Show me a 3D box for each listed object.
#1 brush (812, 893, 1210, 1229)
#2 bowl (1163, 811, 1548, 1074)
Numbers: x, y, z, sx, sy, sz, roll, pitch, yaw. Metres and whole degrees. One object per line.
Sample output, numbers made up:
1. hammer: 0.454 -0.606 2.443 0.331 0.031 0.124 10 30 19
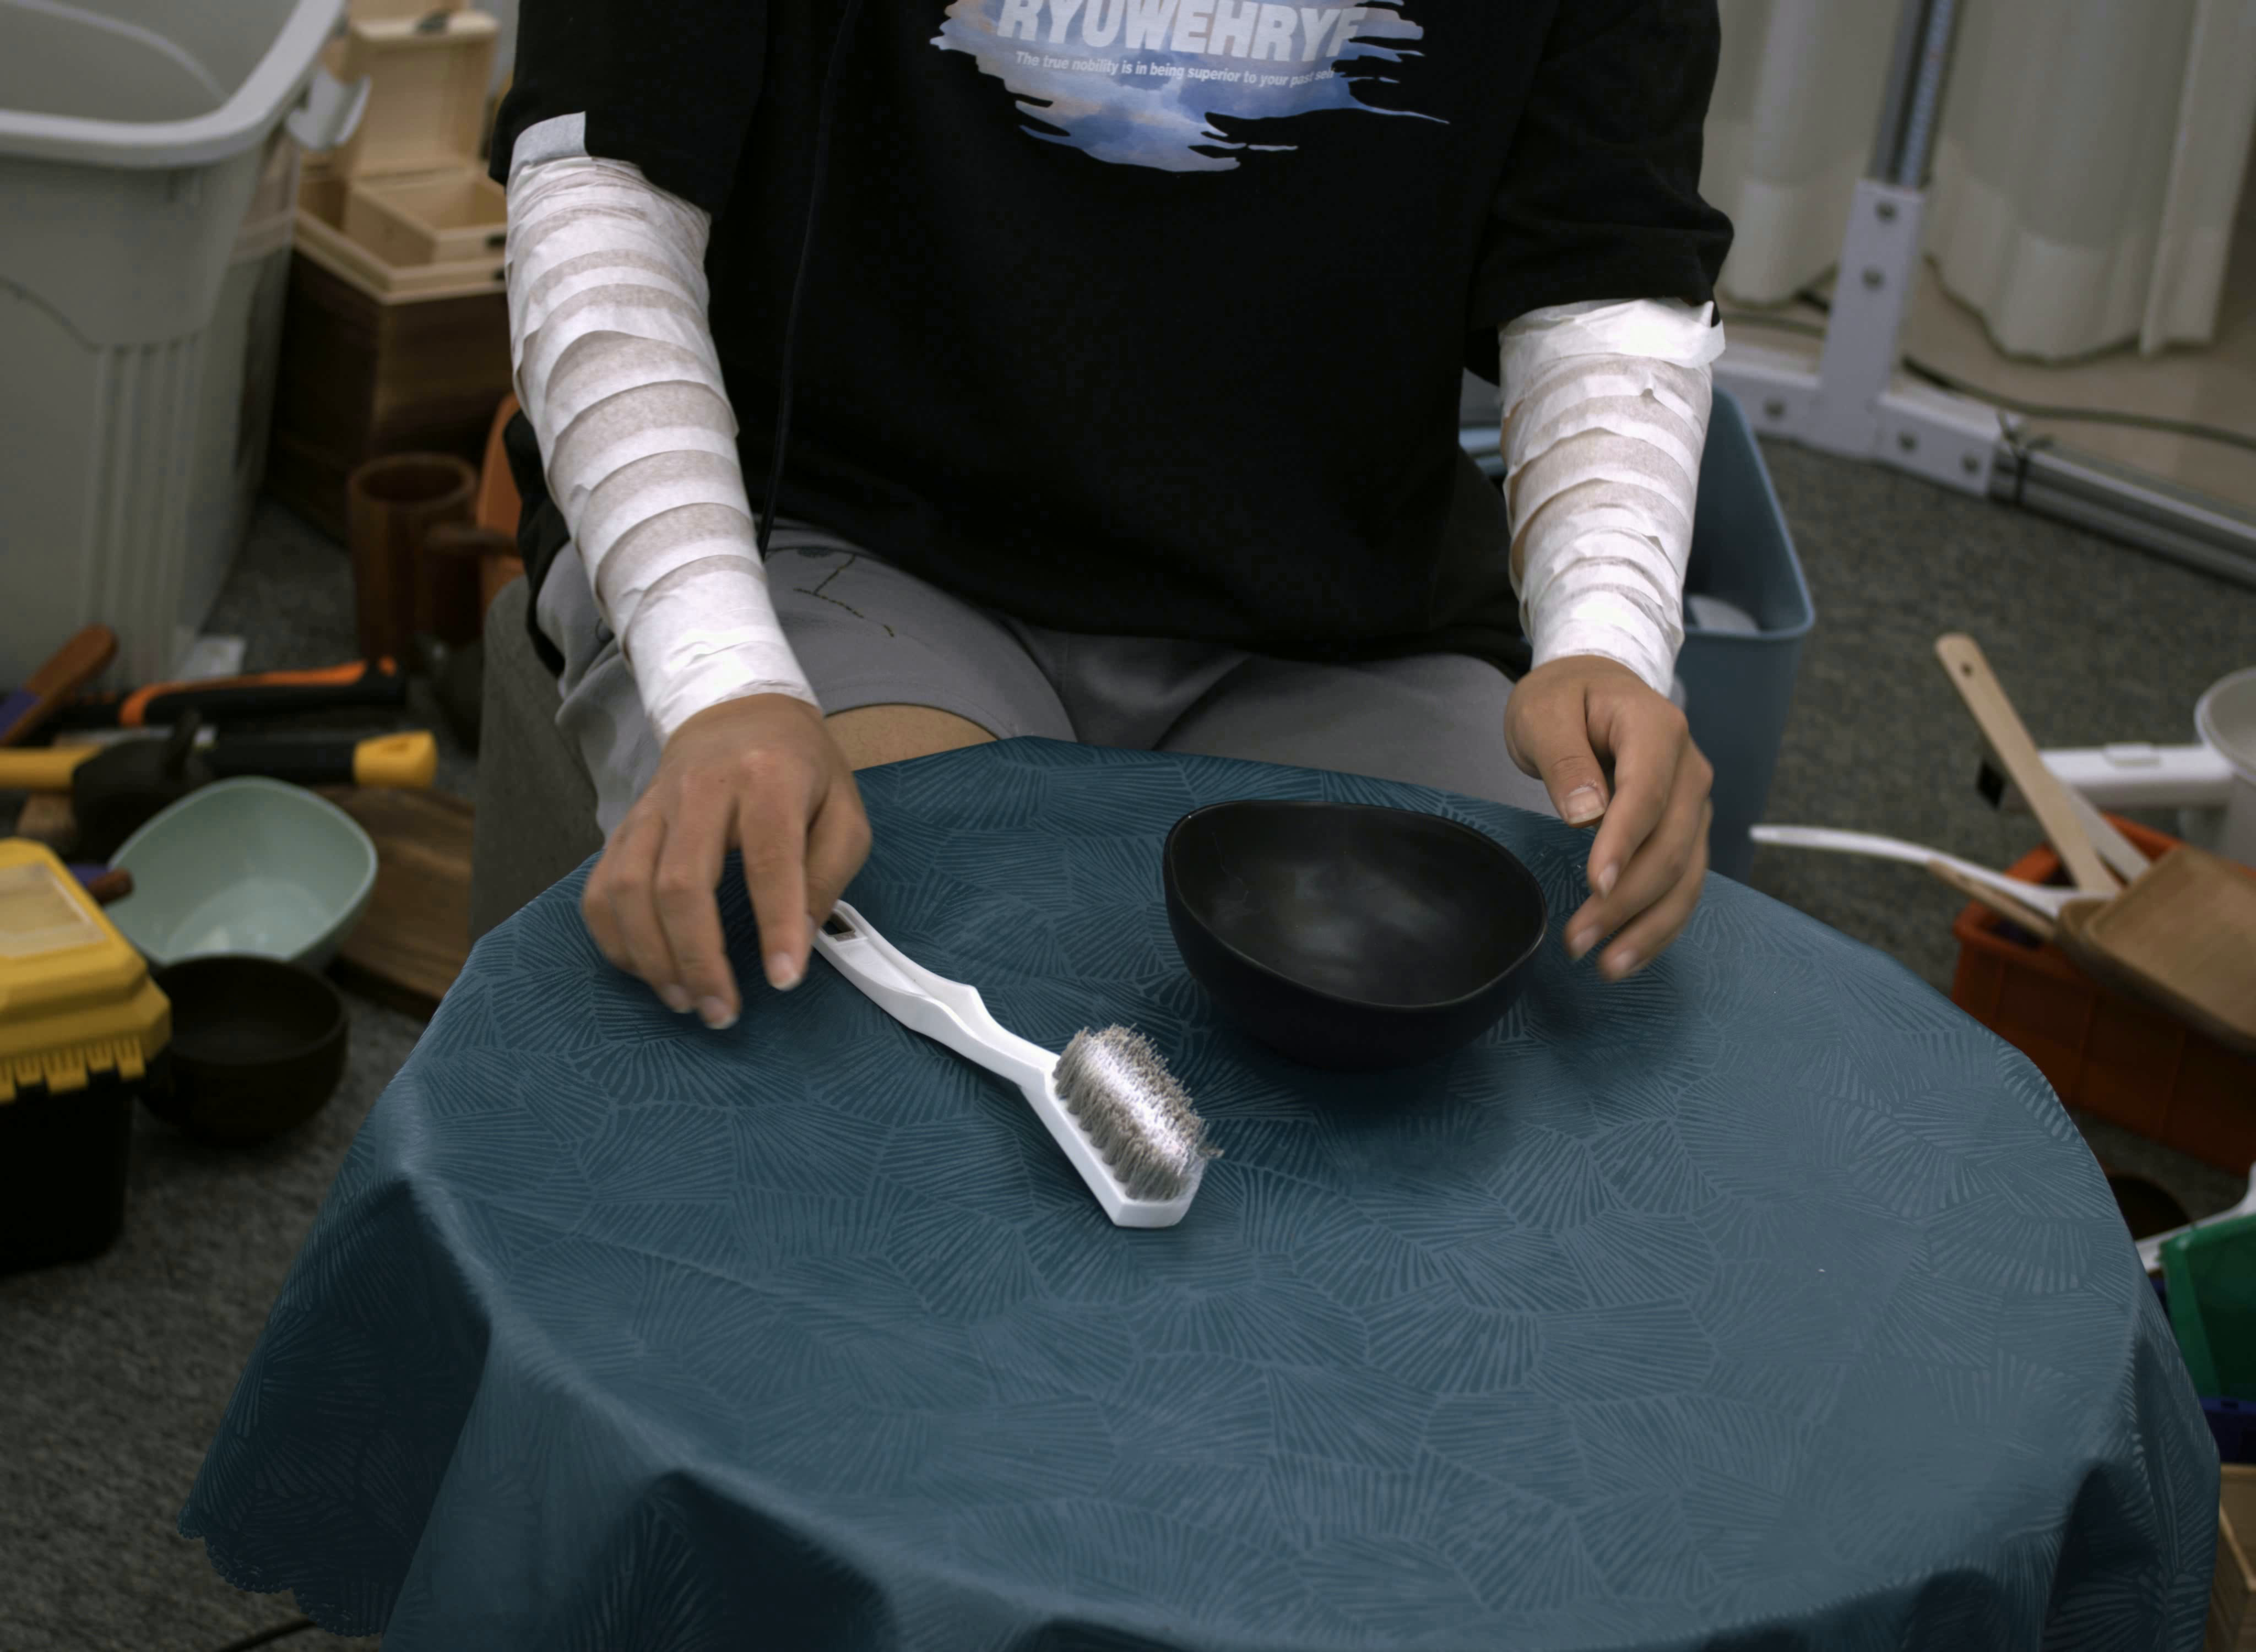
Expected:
1. brush: -0.046 0.064 1.857 0.034 0.050 0.246 -11 32 -29
2. bowl: 0.077 0.046 1.906 0.136 0.066 0.171 2 25 -10
